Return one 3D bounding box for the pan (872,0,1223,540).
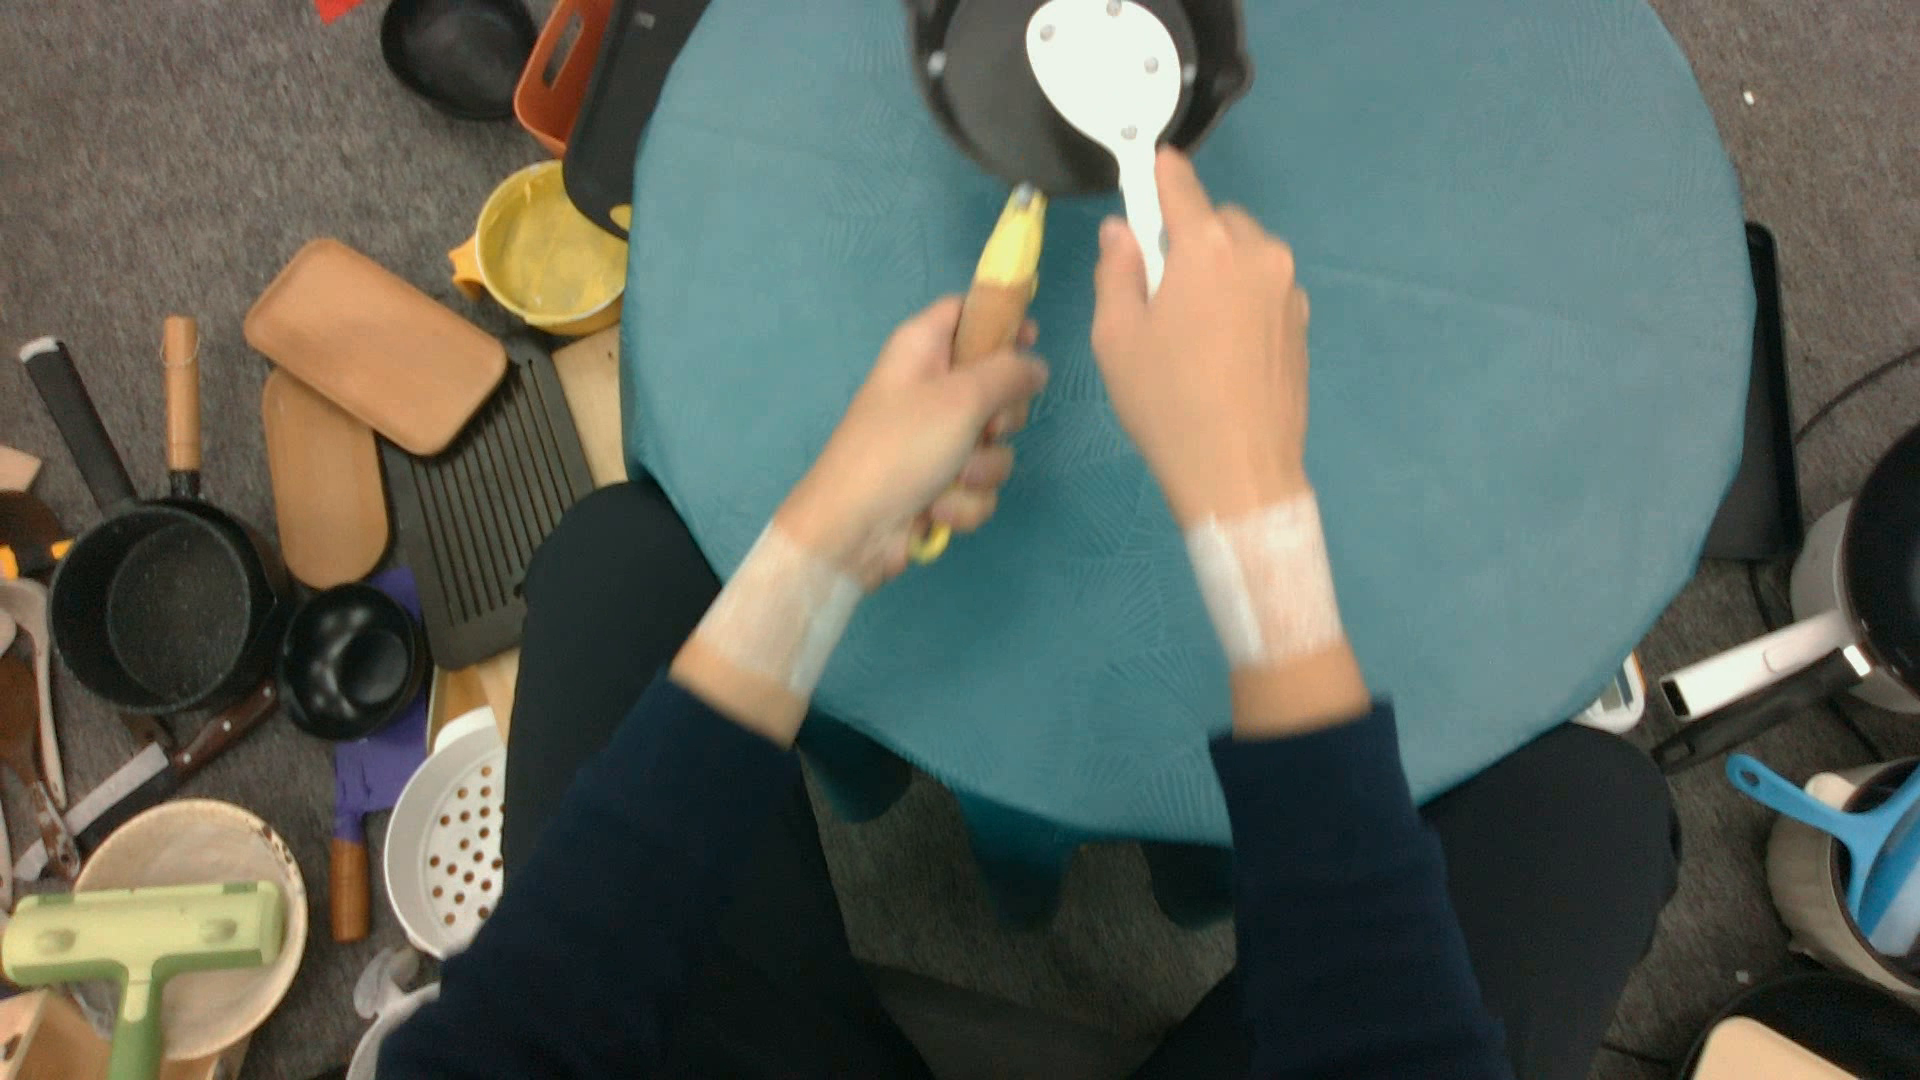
[{"bbox_3d":[0.017,-0.152,0.630,0.169,0.049,0.325,17,77,2],"label":"pan"}]

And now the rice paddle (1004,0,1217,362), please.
[{"bbox_3d":[0.067,-0.169,0.603,0.069,0.029,0.206,-7,62,-11],"label":"rice paddle"}]
